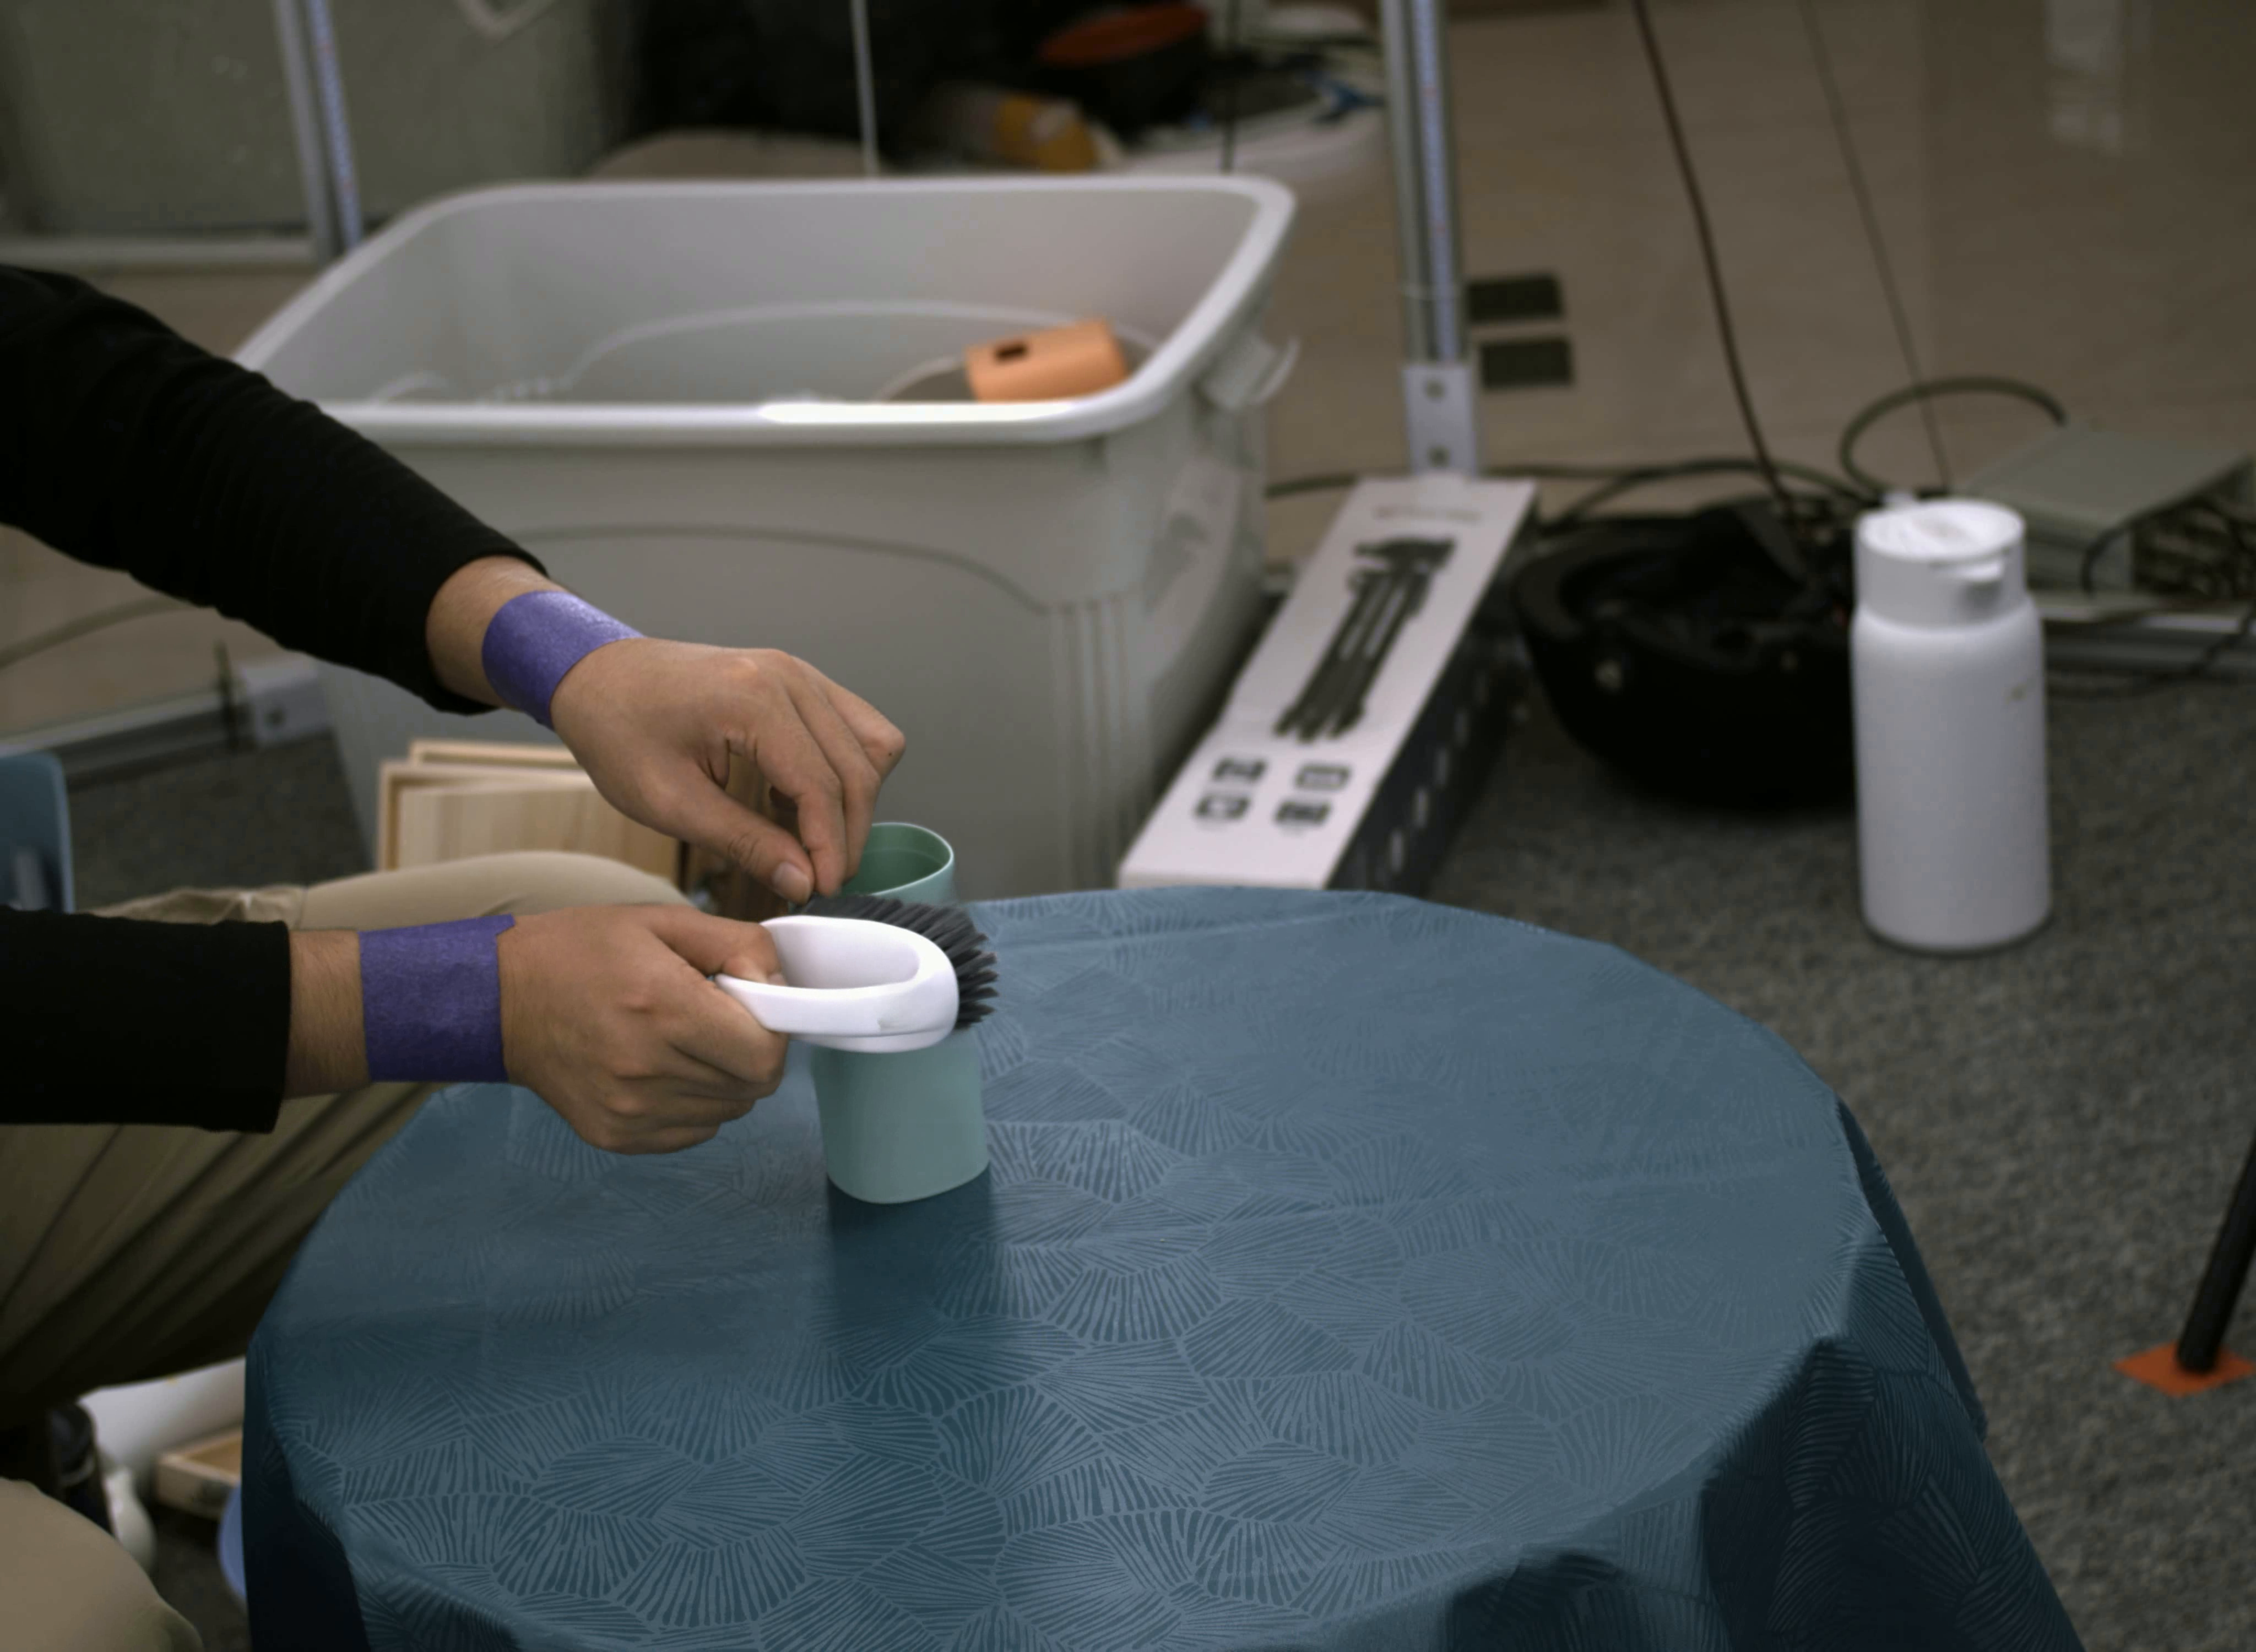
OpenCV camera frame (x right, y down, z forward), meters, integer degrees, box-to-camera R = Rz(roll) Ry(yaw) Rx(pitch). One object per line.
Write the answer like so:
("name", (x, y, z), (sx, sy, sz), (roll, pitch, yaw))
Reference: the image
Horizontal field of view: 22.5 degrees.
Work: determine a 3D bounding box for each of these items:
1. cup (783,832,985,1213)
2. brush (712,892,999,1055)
("cup", (-0.091, 0.075, 2.159), (0.066, 0.134, 0.066), (-5, 26, 2))
("brush", (-0.106, 0.059, 2.067), (0.099, 0.051, 0.072), (9, 19, 30))
